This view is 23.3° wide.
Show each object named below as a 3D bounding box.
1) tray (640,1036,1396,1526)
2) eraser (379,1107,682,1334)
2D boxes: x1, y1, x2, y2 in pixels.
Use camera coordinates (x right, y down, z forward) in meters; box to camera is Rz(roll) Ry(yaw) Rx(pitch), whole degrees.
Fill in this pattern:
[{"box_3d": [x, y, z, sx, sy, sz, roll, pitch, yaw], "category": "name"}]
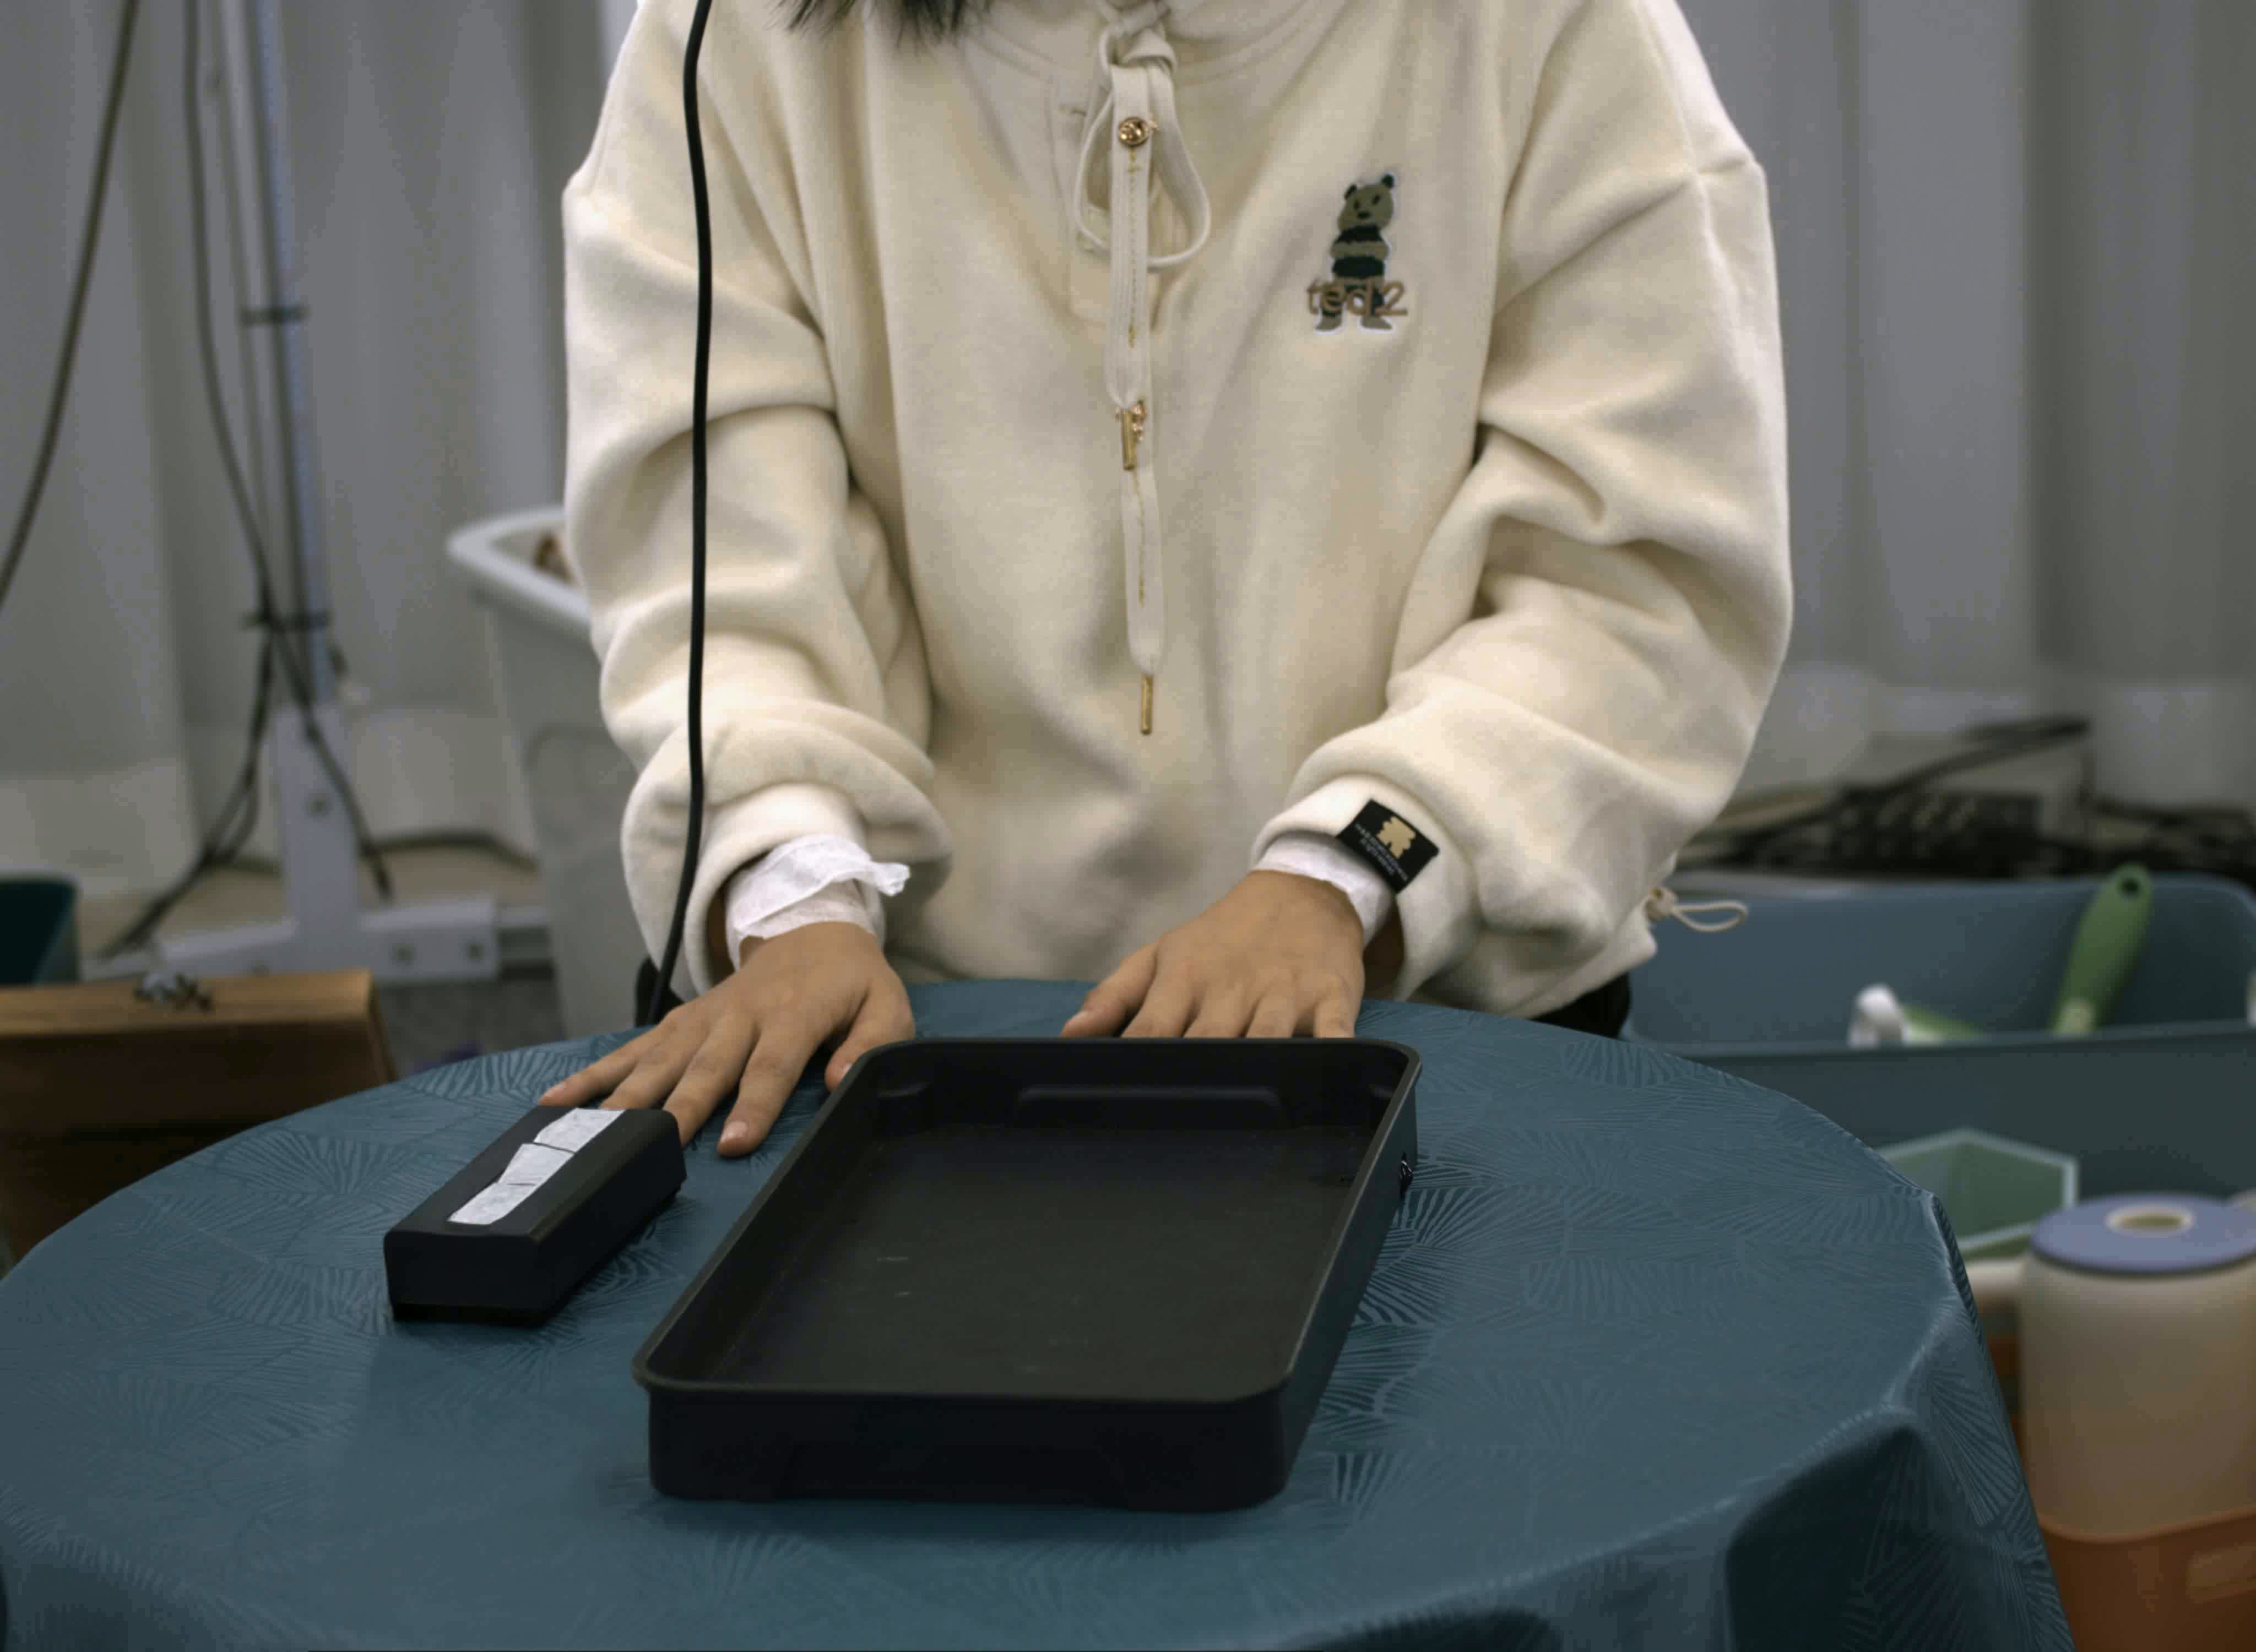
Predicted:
[{"box_3d": [-0.023, 0.127, 1.599, 0.184, 0.037, 0.320, -1, 15, 8], "category": "tray"}, {"box_3d": [-0.182, 0.120, 1.677, 0.053, 0.030, 0.126, 5, 16, 14], "category": "eraser"}]
